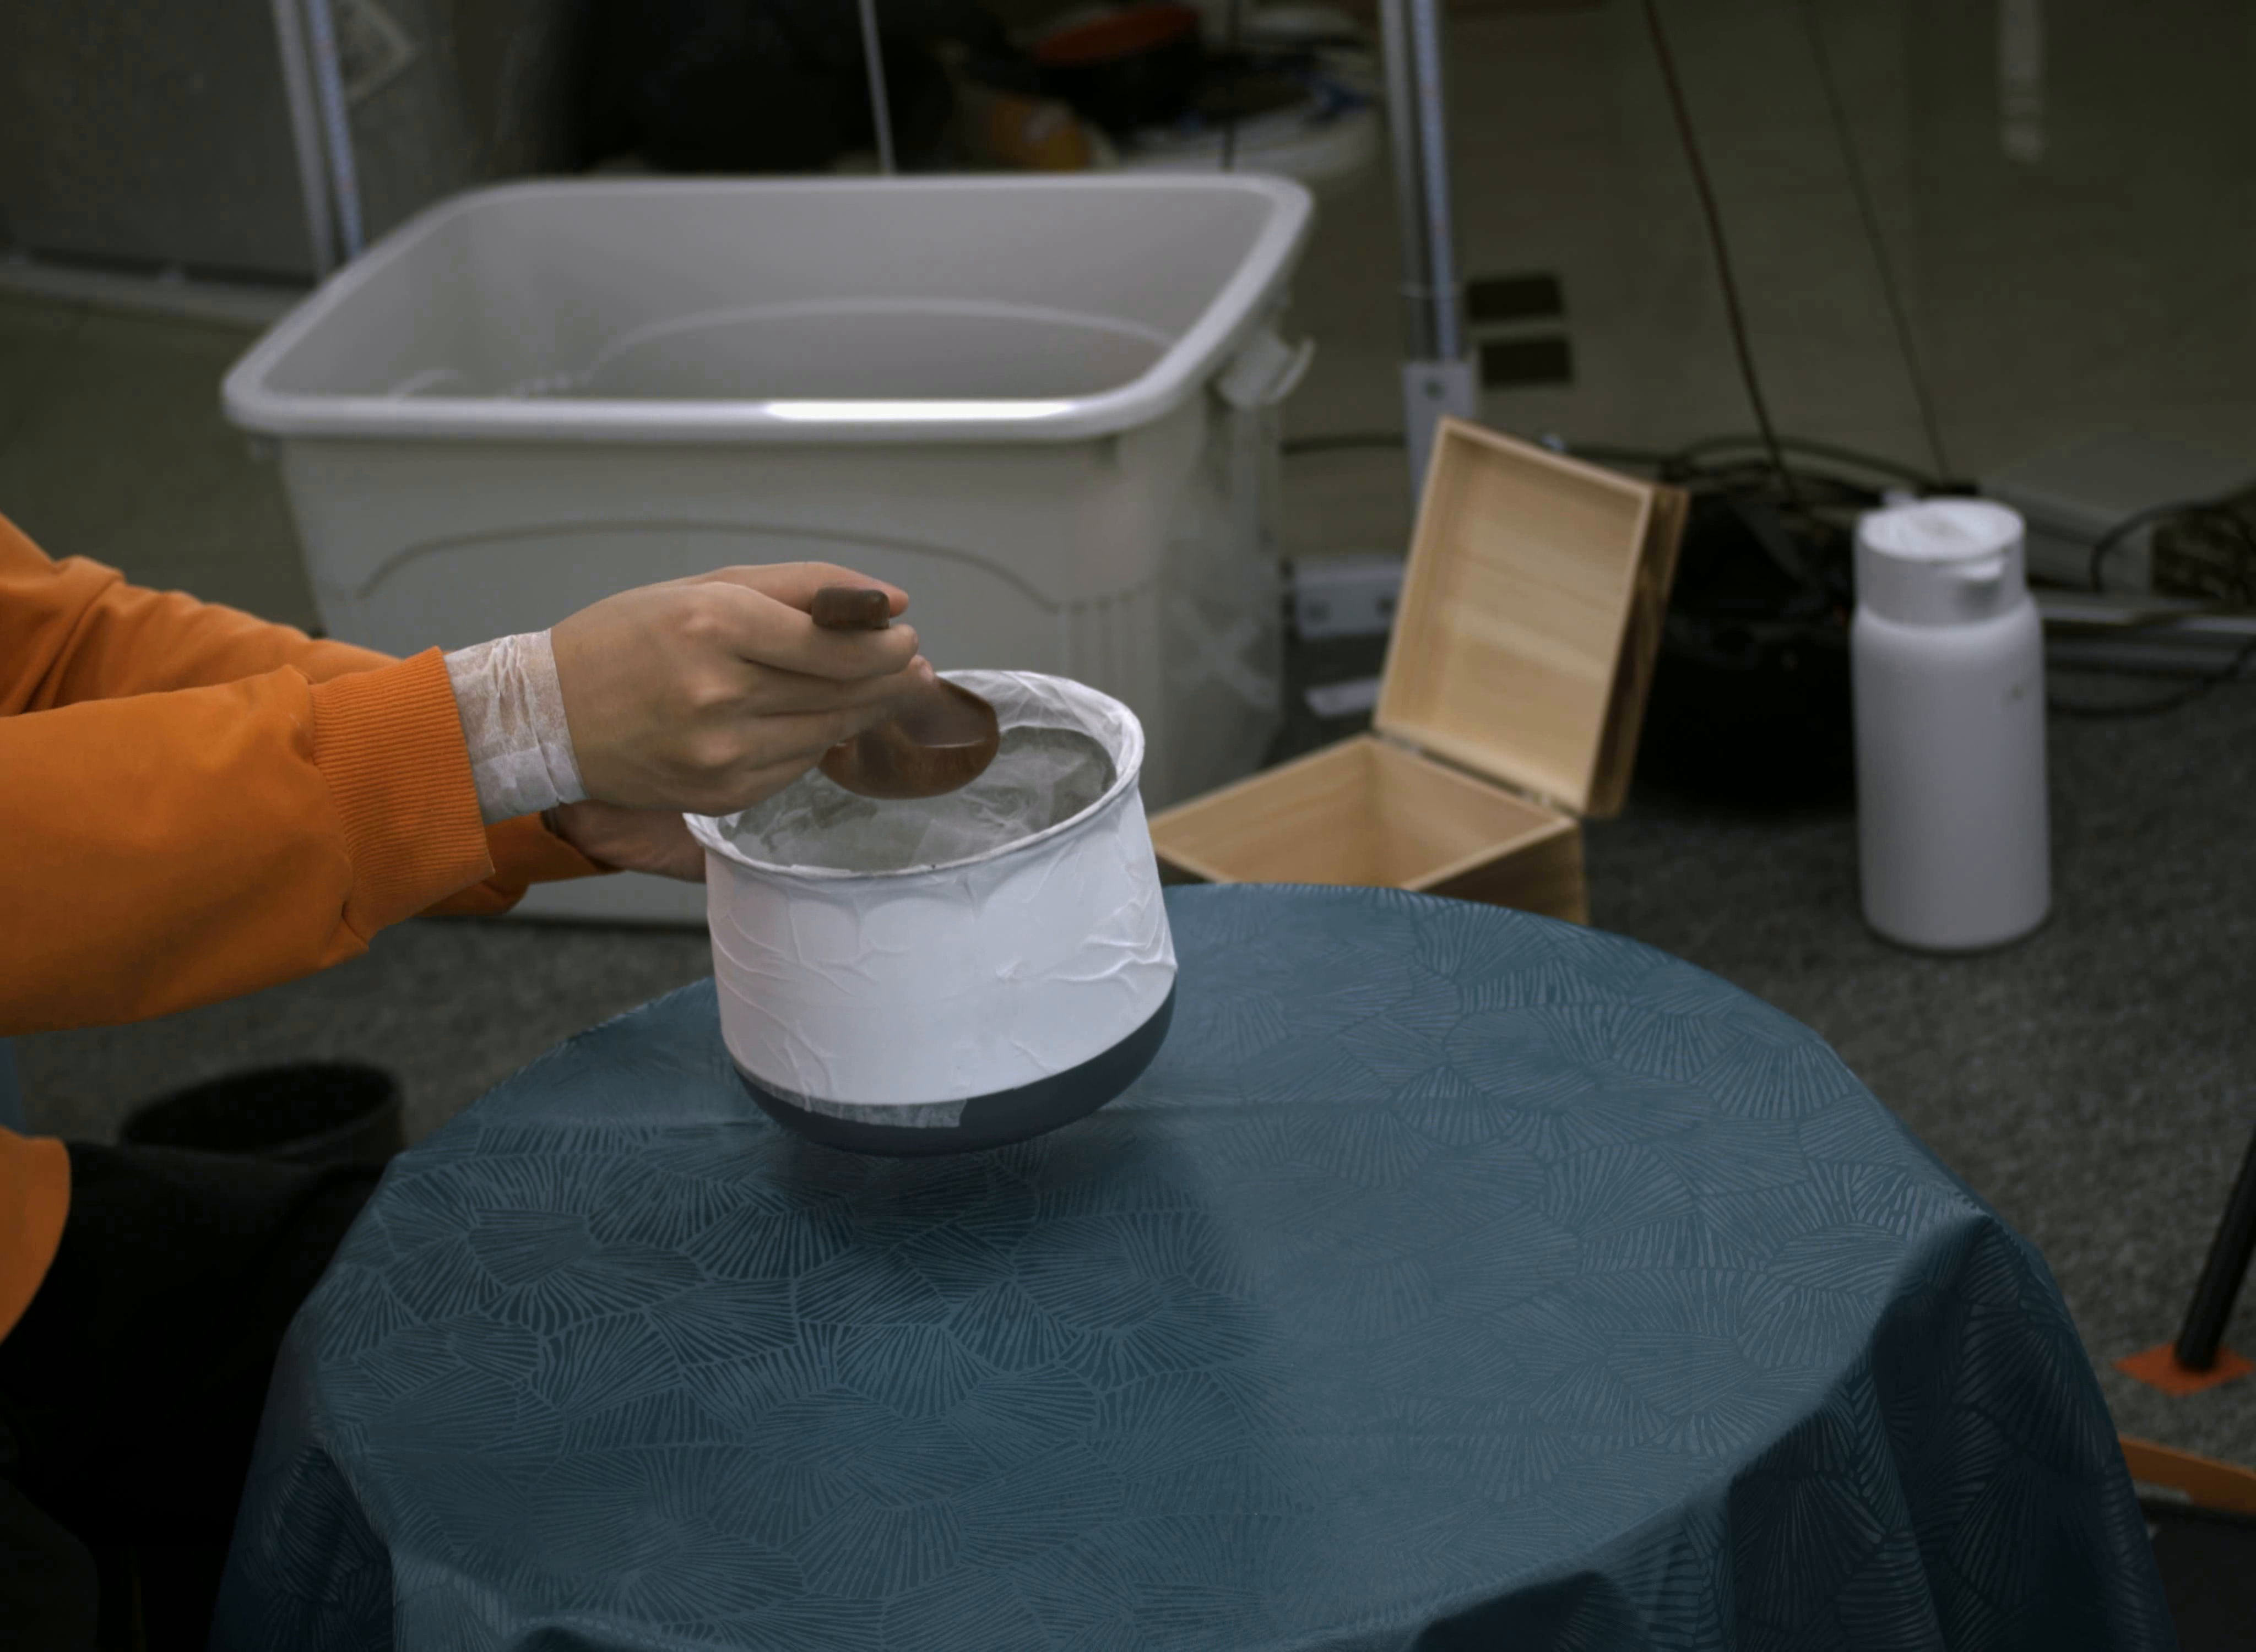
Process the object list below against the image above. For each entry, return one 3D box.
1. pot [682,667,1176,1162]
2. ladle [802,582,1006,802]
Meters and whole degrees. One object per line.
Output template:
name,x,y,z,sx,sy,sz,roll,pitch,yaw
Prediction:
pot,-0.090,0.027,2.180,0.177,0.139,0.231,-25,31,-32
ladle,-0.090,-0.062,2.031,0.076,0.064,0.263,-4,-17,2
